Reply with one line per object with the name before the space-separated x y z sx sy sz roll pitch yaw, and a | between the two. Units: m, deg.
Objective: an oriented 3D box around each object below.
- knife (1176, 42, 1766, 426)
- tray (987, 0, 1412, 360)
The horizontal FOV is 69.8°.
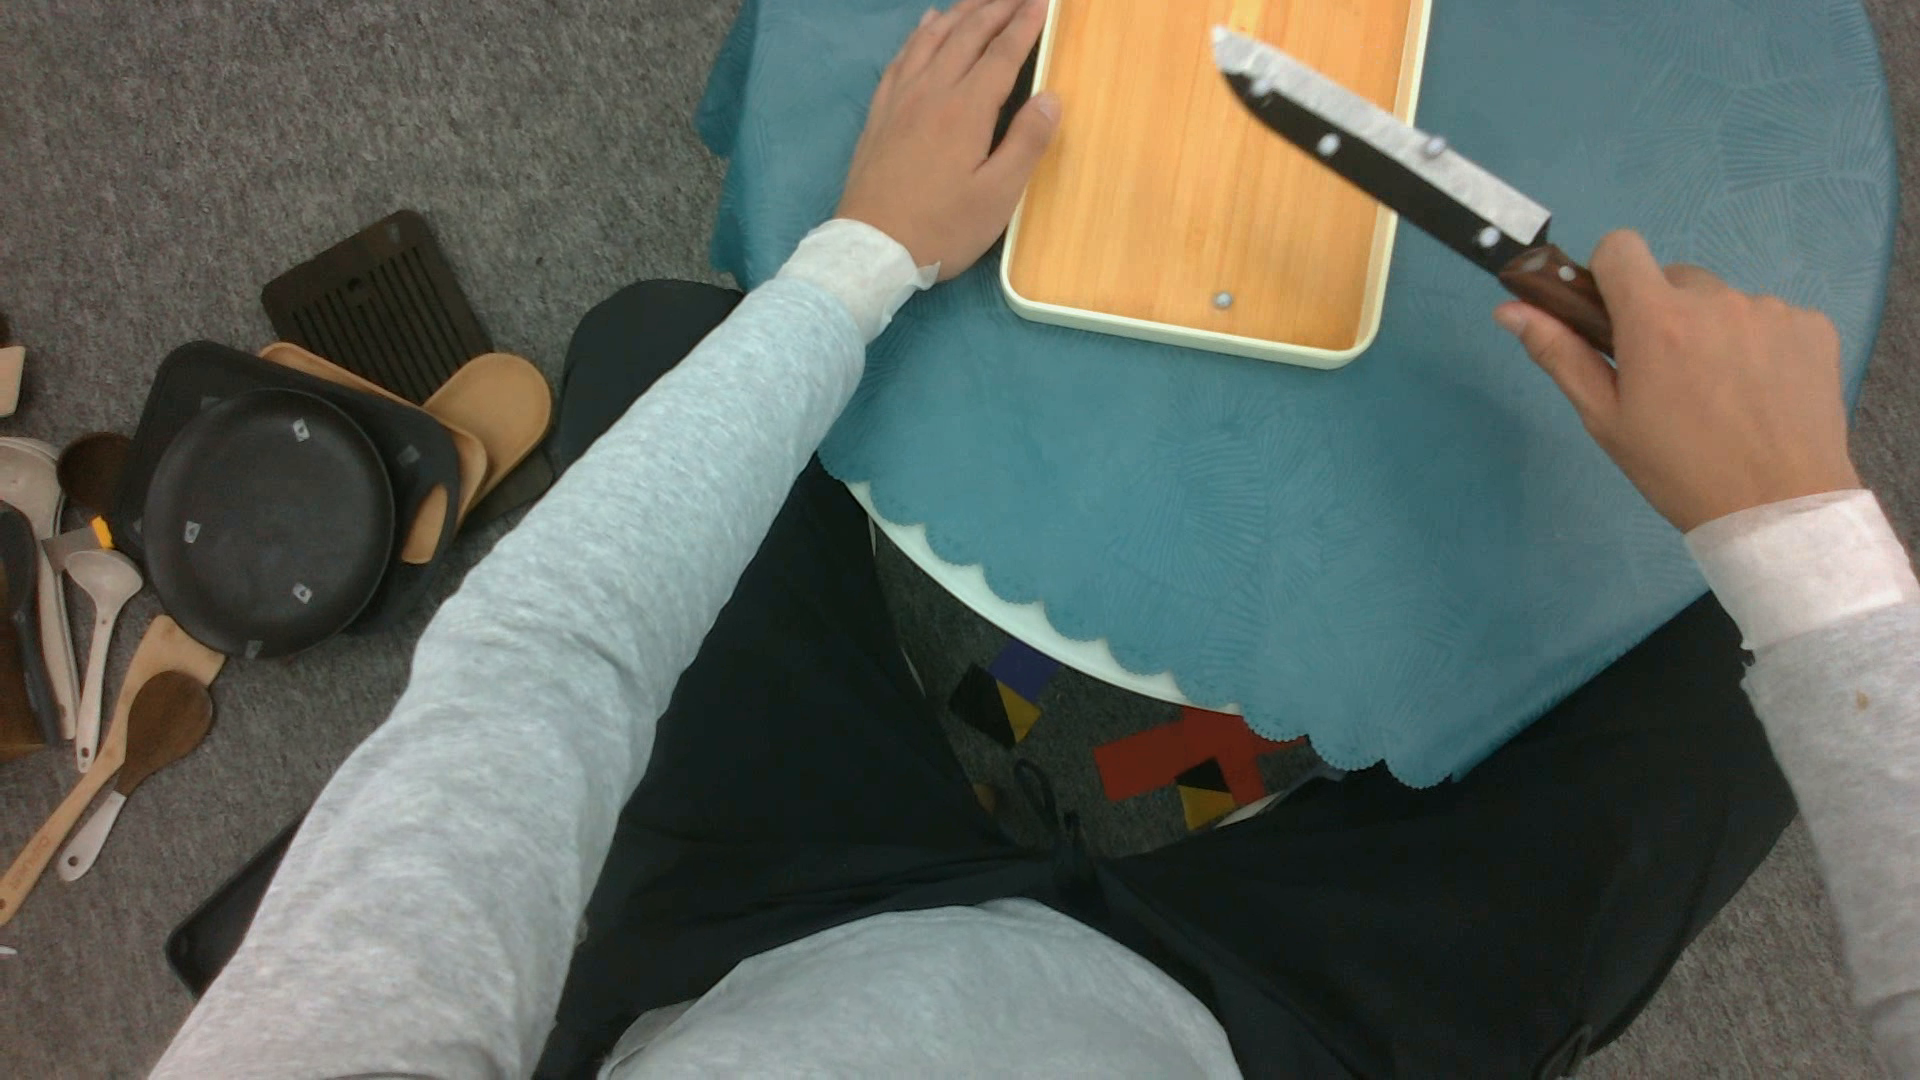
knife | 0.211 -0.136 0.586 0.289 0.020 0.050 36 65 10
tray | 0.130 -0.252 0.714 0.191 0.027 0.300 10 83 3
